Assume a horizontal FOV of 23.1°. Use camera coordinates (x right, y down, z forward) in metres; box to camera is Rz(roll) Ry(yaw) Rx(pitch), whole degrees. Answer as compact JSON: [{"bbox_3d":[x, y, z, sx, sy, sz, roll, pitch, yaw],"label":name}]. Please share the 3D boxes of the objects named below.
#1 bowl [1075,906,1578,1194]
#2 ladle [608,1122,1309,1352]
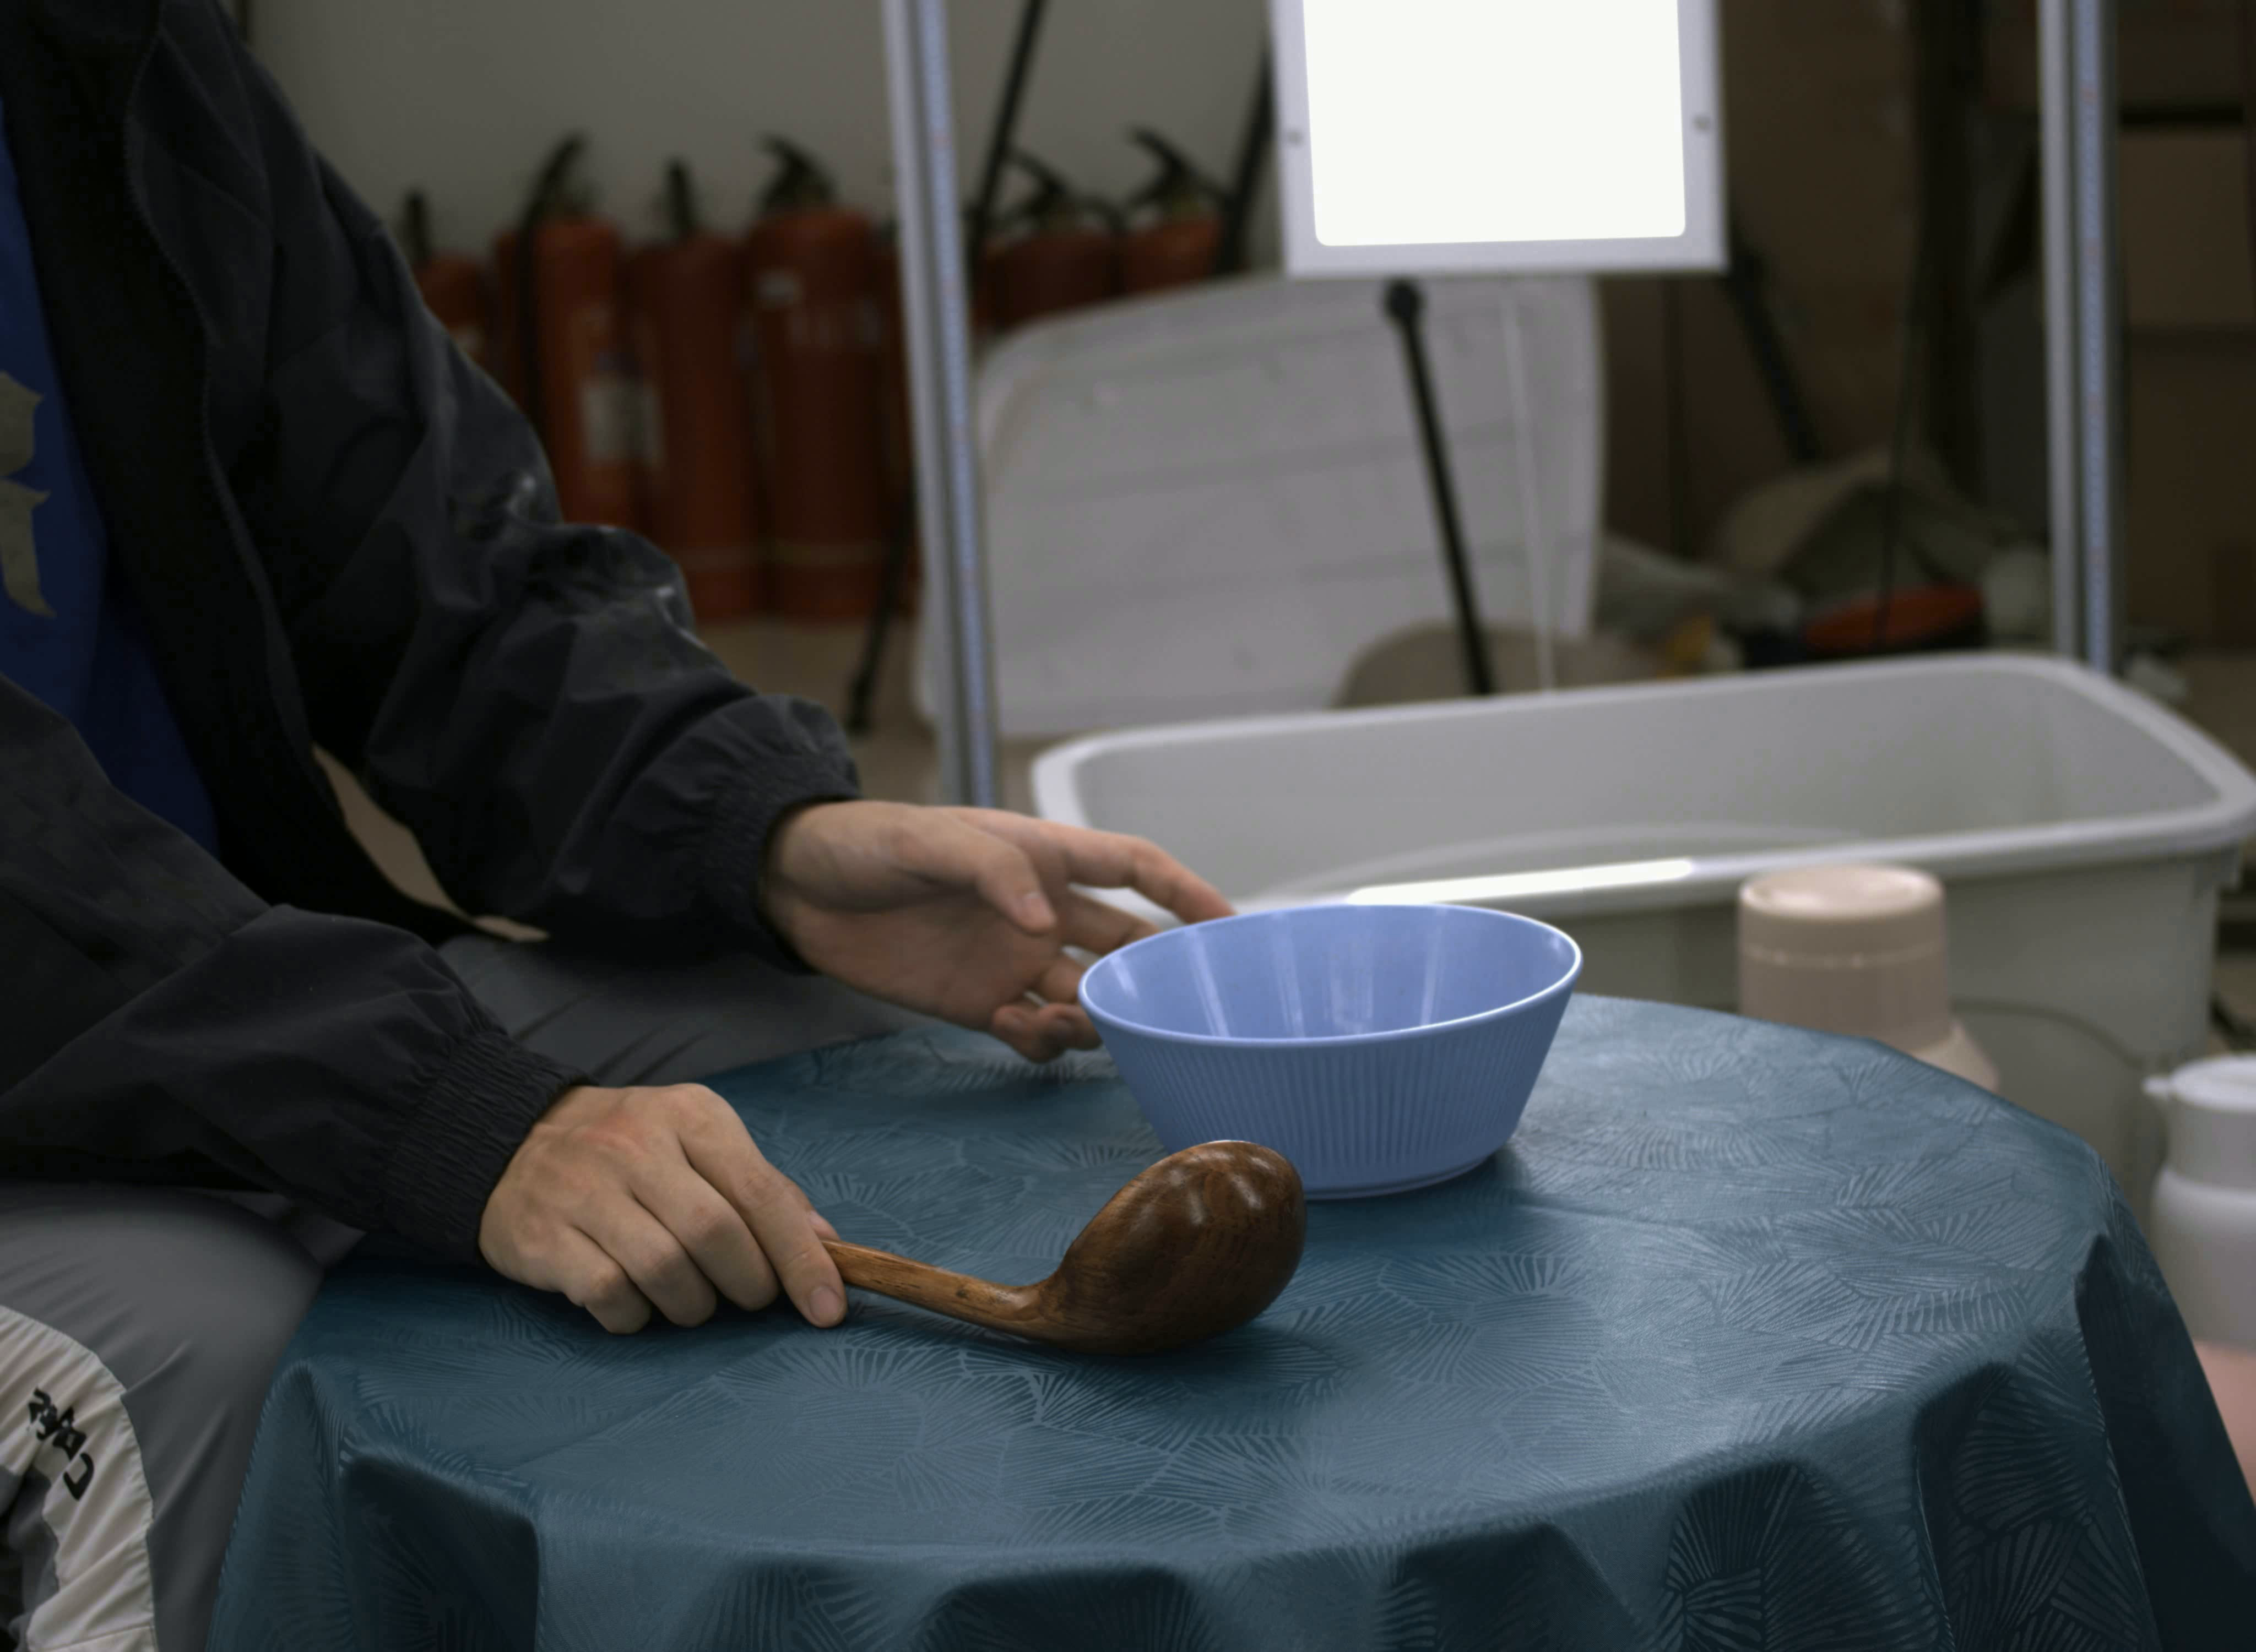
[{"bbox_3d":[0.071,0.080,1.911,0.175,0.070,0.176,-5,13,0],"label":"bowl"},{"bbox_3d":[-0.060,0.122,1.788,0.280,0.076,0.080,5,-25,43],"label":"ladle"}]
